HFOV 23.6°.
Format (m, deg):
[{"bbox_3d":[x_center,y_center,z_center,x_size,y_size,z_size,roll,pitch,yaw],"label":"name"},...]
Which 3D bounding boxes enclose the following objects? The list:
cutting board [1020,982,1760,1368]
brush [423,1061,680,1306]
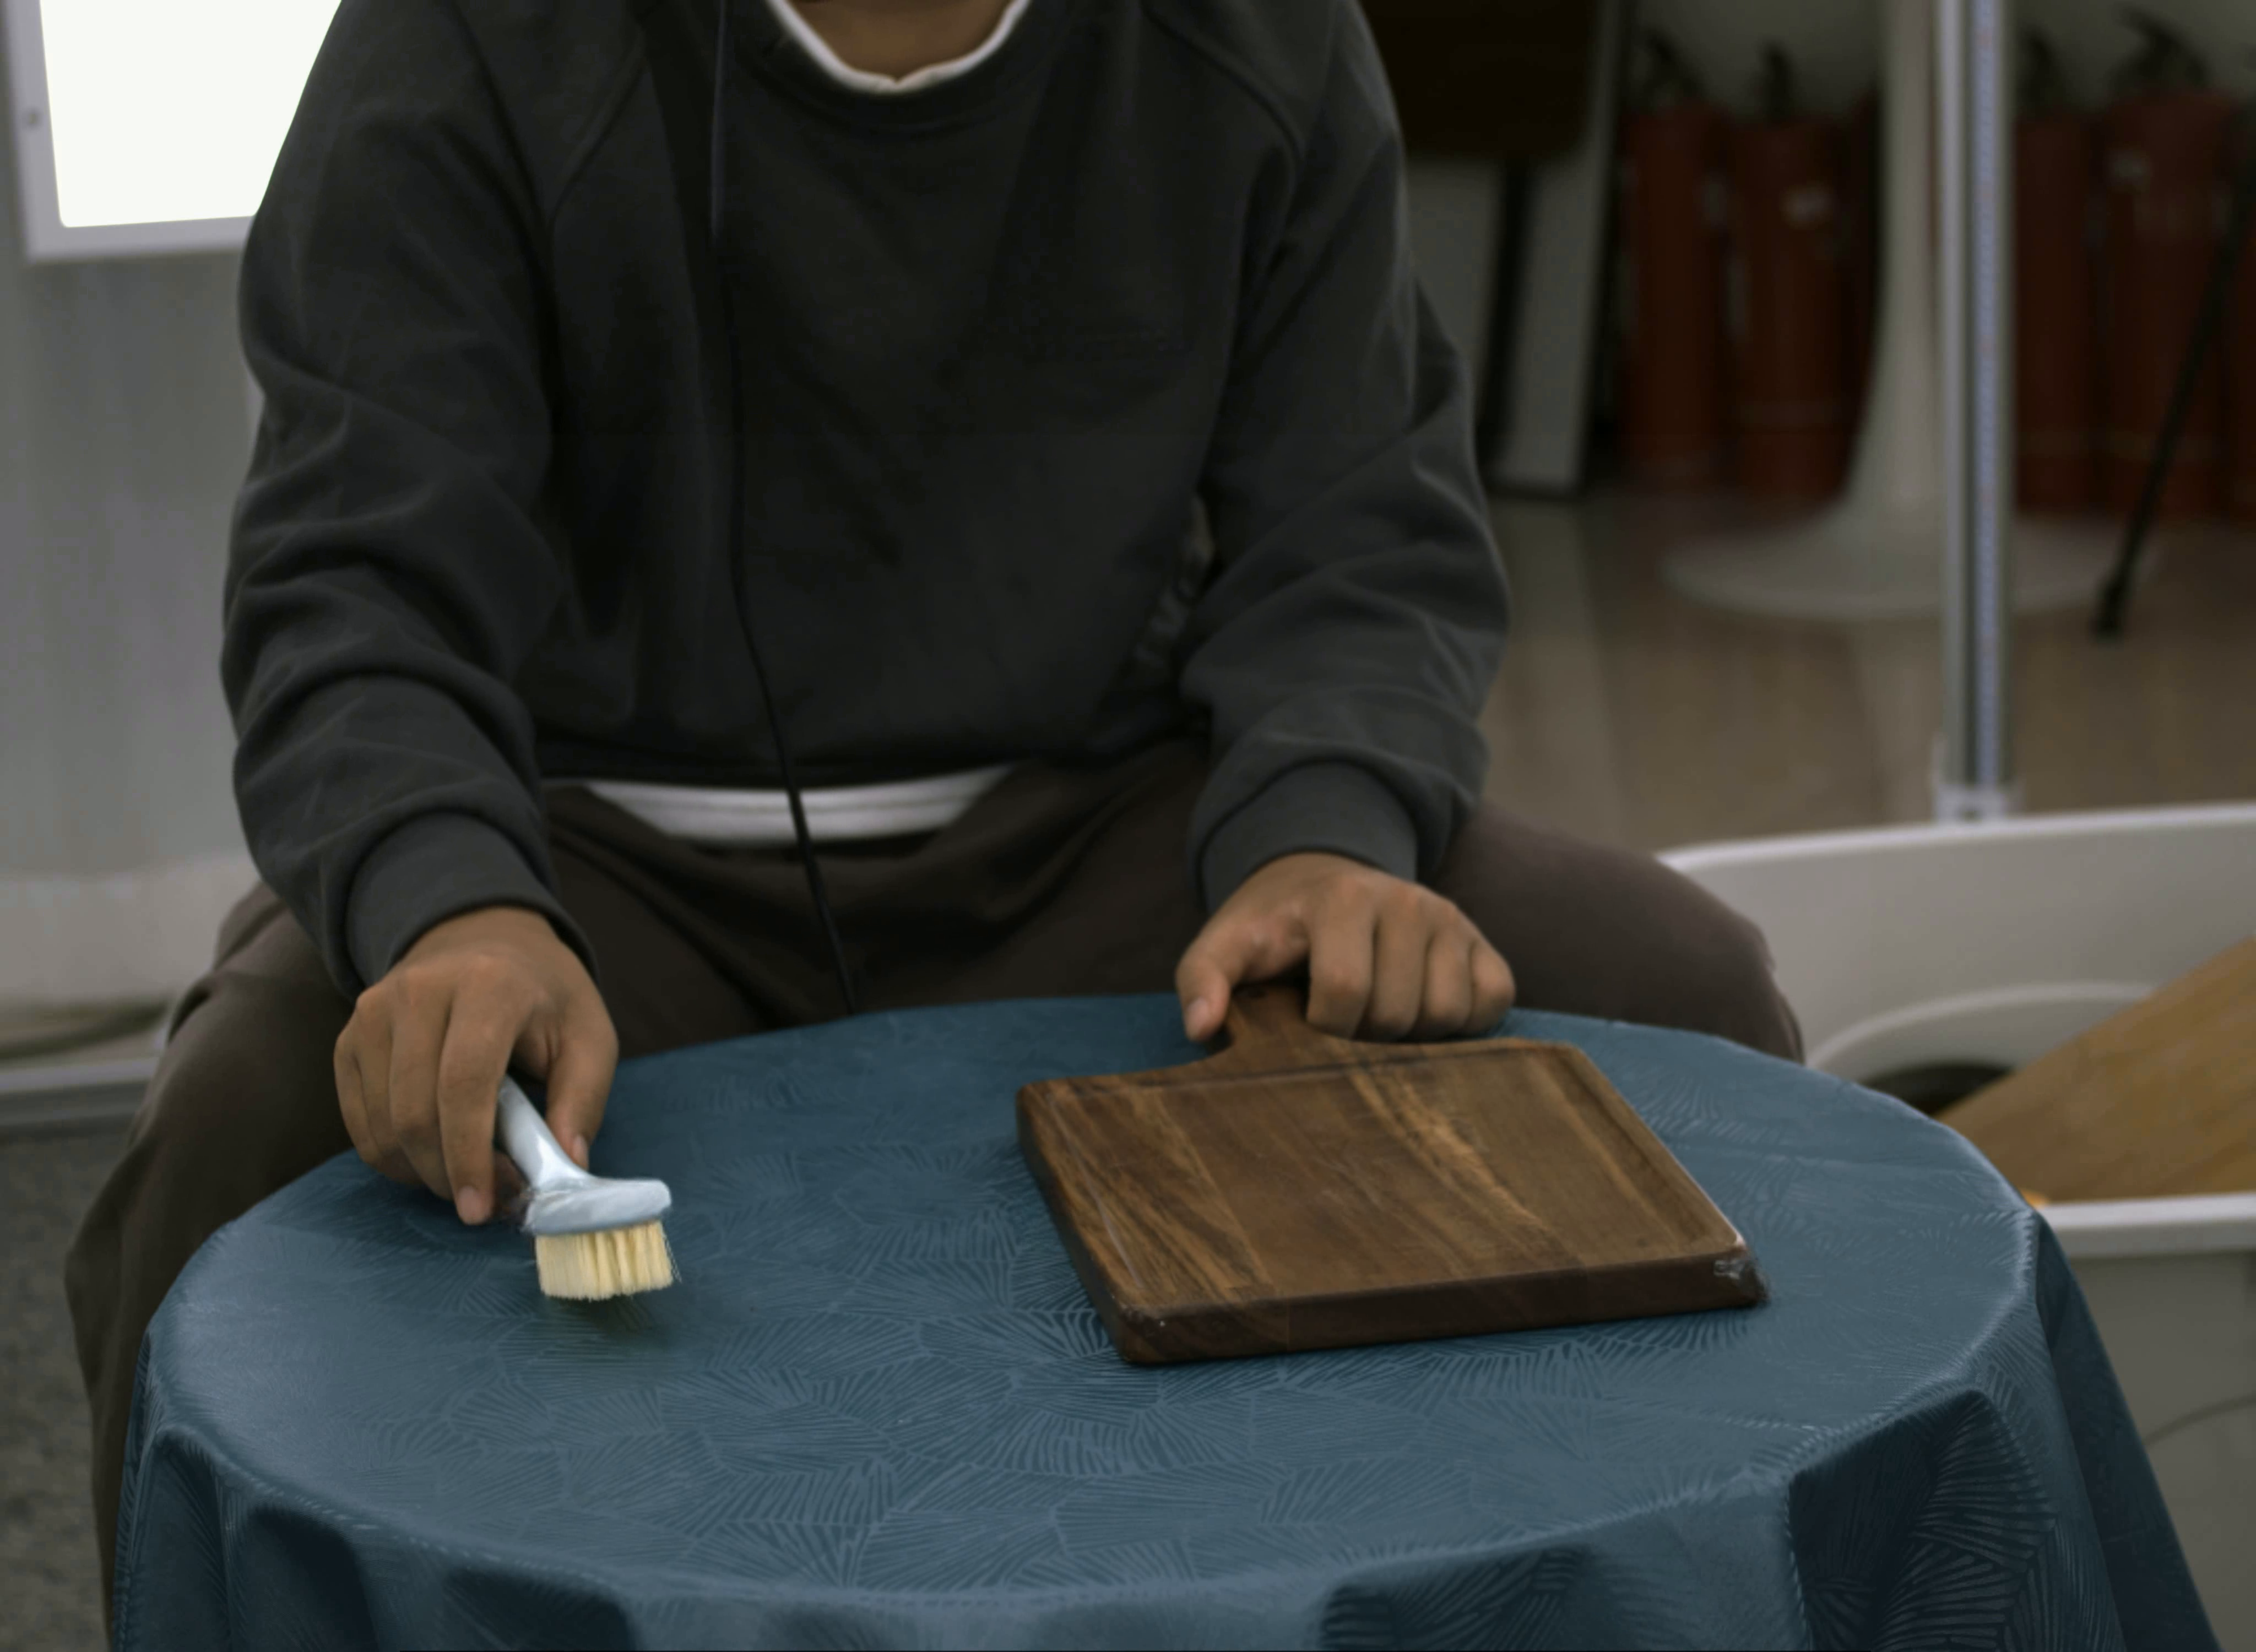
[{"bbox_3d":[0.071,0.105,1.777,0.198,0.023,0.354,-5,14,-7],"label":"cutting board"},{"bbox_3d":[-0.191,0.117,1.752,0.037,0.050,0.231,-8,13,-21],"label":"brush"}]
